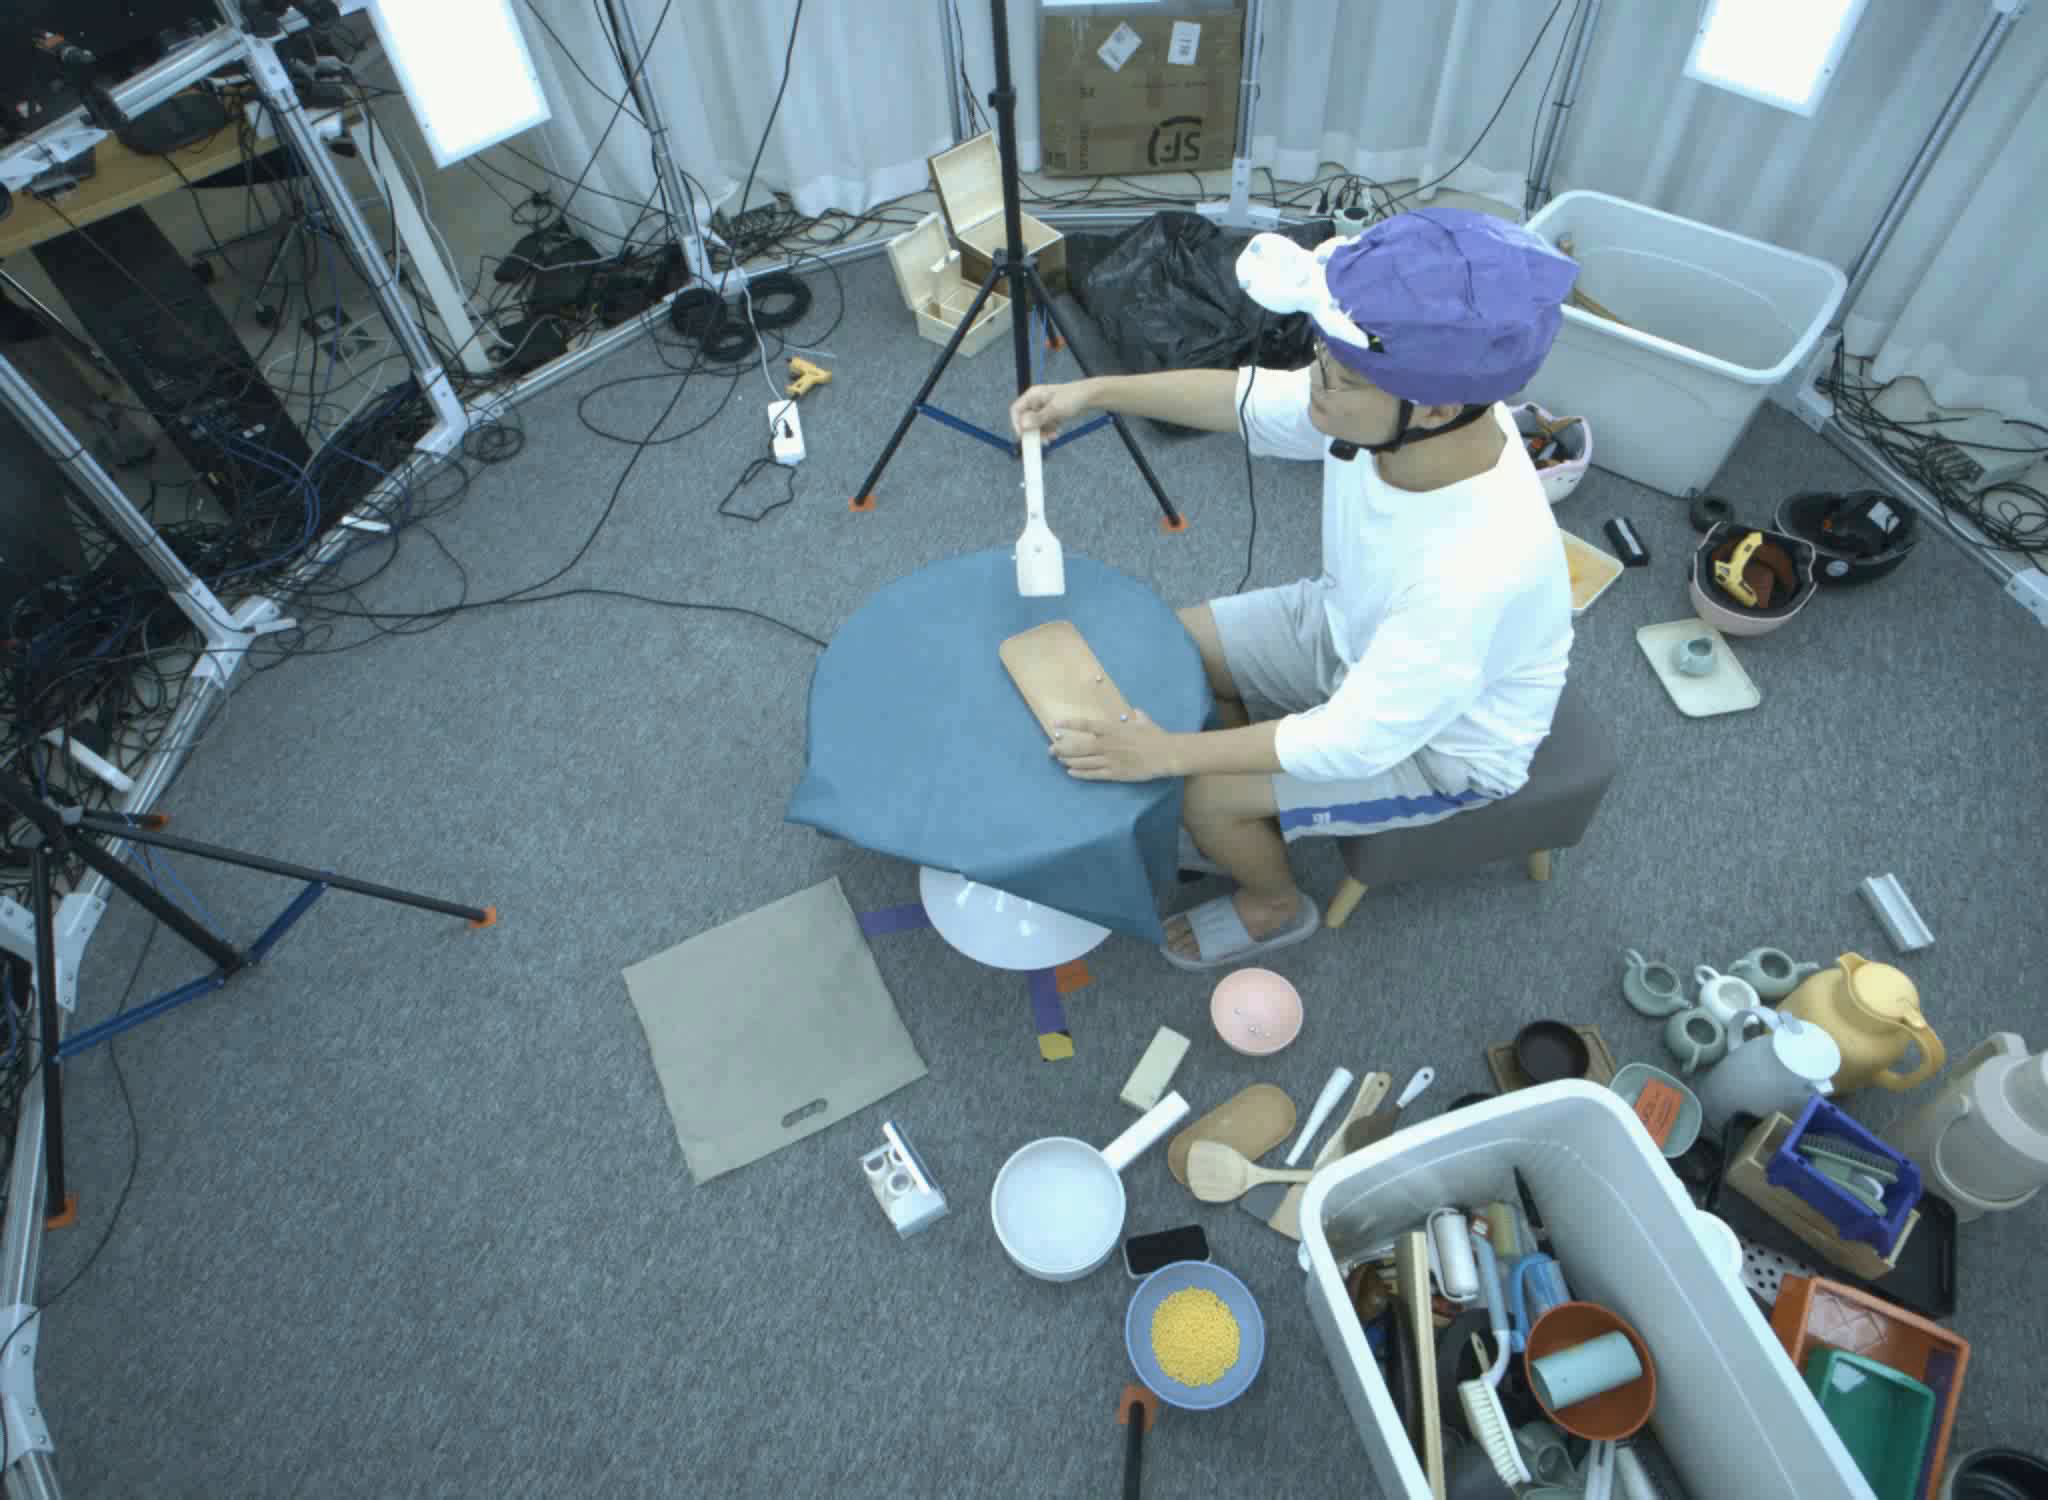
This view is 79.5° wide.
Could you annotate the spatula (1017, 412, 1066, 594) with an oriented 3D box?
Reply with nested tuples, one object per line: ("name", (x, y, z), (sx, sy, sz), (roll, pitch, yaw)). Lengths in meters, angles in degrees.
("spatula", (0.017, -0.378, 1.852), (0.073, 0.010, 0.292), (-3, 85, -11))

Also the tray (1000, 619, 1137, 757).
("tray", (0.064, -0.095, 1.842), (0.131, 0.023, 0.246), (-20, 56, -15))
